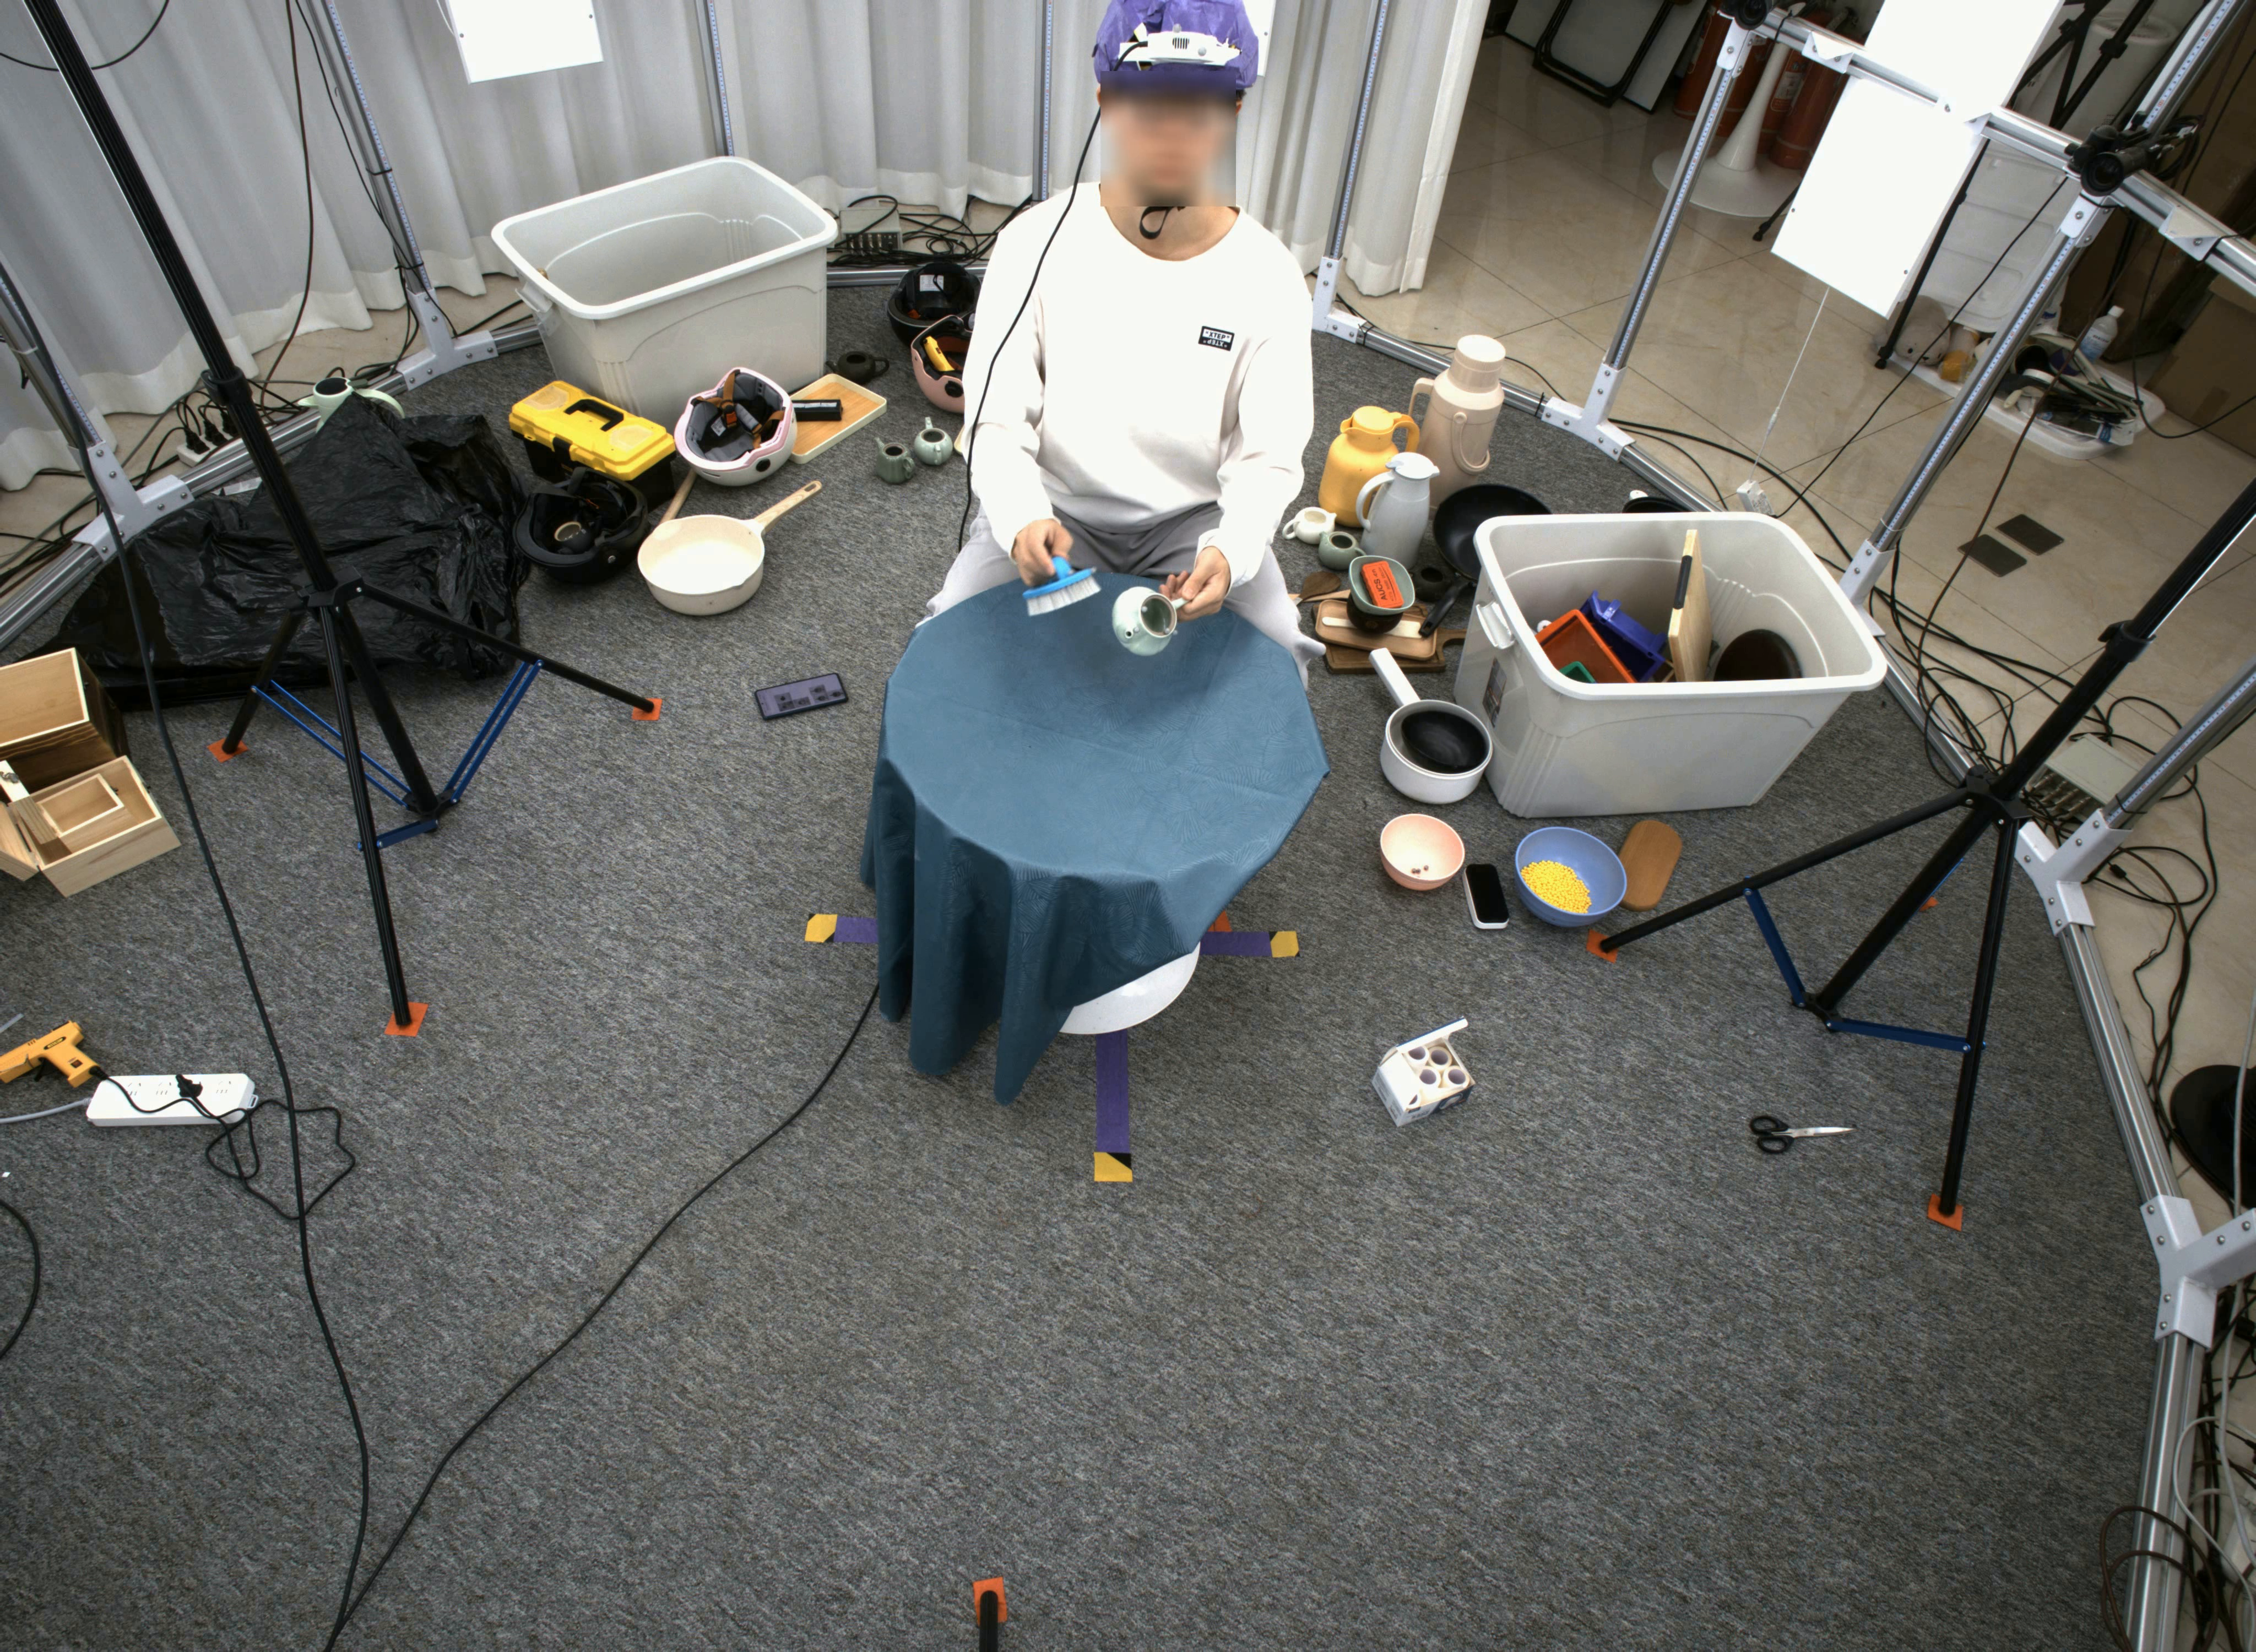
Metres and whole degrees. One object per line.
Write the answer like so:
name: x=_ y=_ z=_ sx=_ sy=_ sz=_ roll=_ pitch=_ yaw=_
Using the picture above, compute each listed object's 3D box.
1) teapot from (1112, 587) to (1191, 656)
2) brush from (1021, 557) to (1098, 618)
teapot: x=0.031 y=-0.288 z=1.774 sx=0.138 sy=0.061 sz=0.095 roll=-38 pitch=102 yaw=-29
brush: x=-0.101 y=-0.331 z=1.748 sx=0.085 sy=0.063 sz=0.142 roll=-32 pitch=15 yaw=-17
